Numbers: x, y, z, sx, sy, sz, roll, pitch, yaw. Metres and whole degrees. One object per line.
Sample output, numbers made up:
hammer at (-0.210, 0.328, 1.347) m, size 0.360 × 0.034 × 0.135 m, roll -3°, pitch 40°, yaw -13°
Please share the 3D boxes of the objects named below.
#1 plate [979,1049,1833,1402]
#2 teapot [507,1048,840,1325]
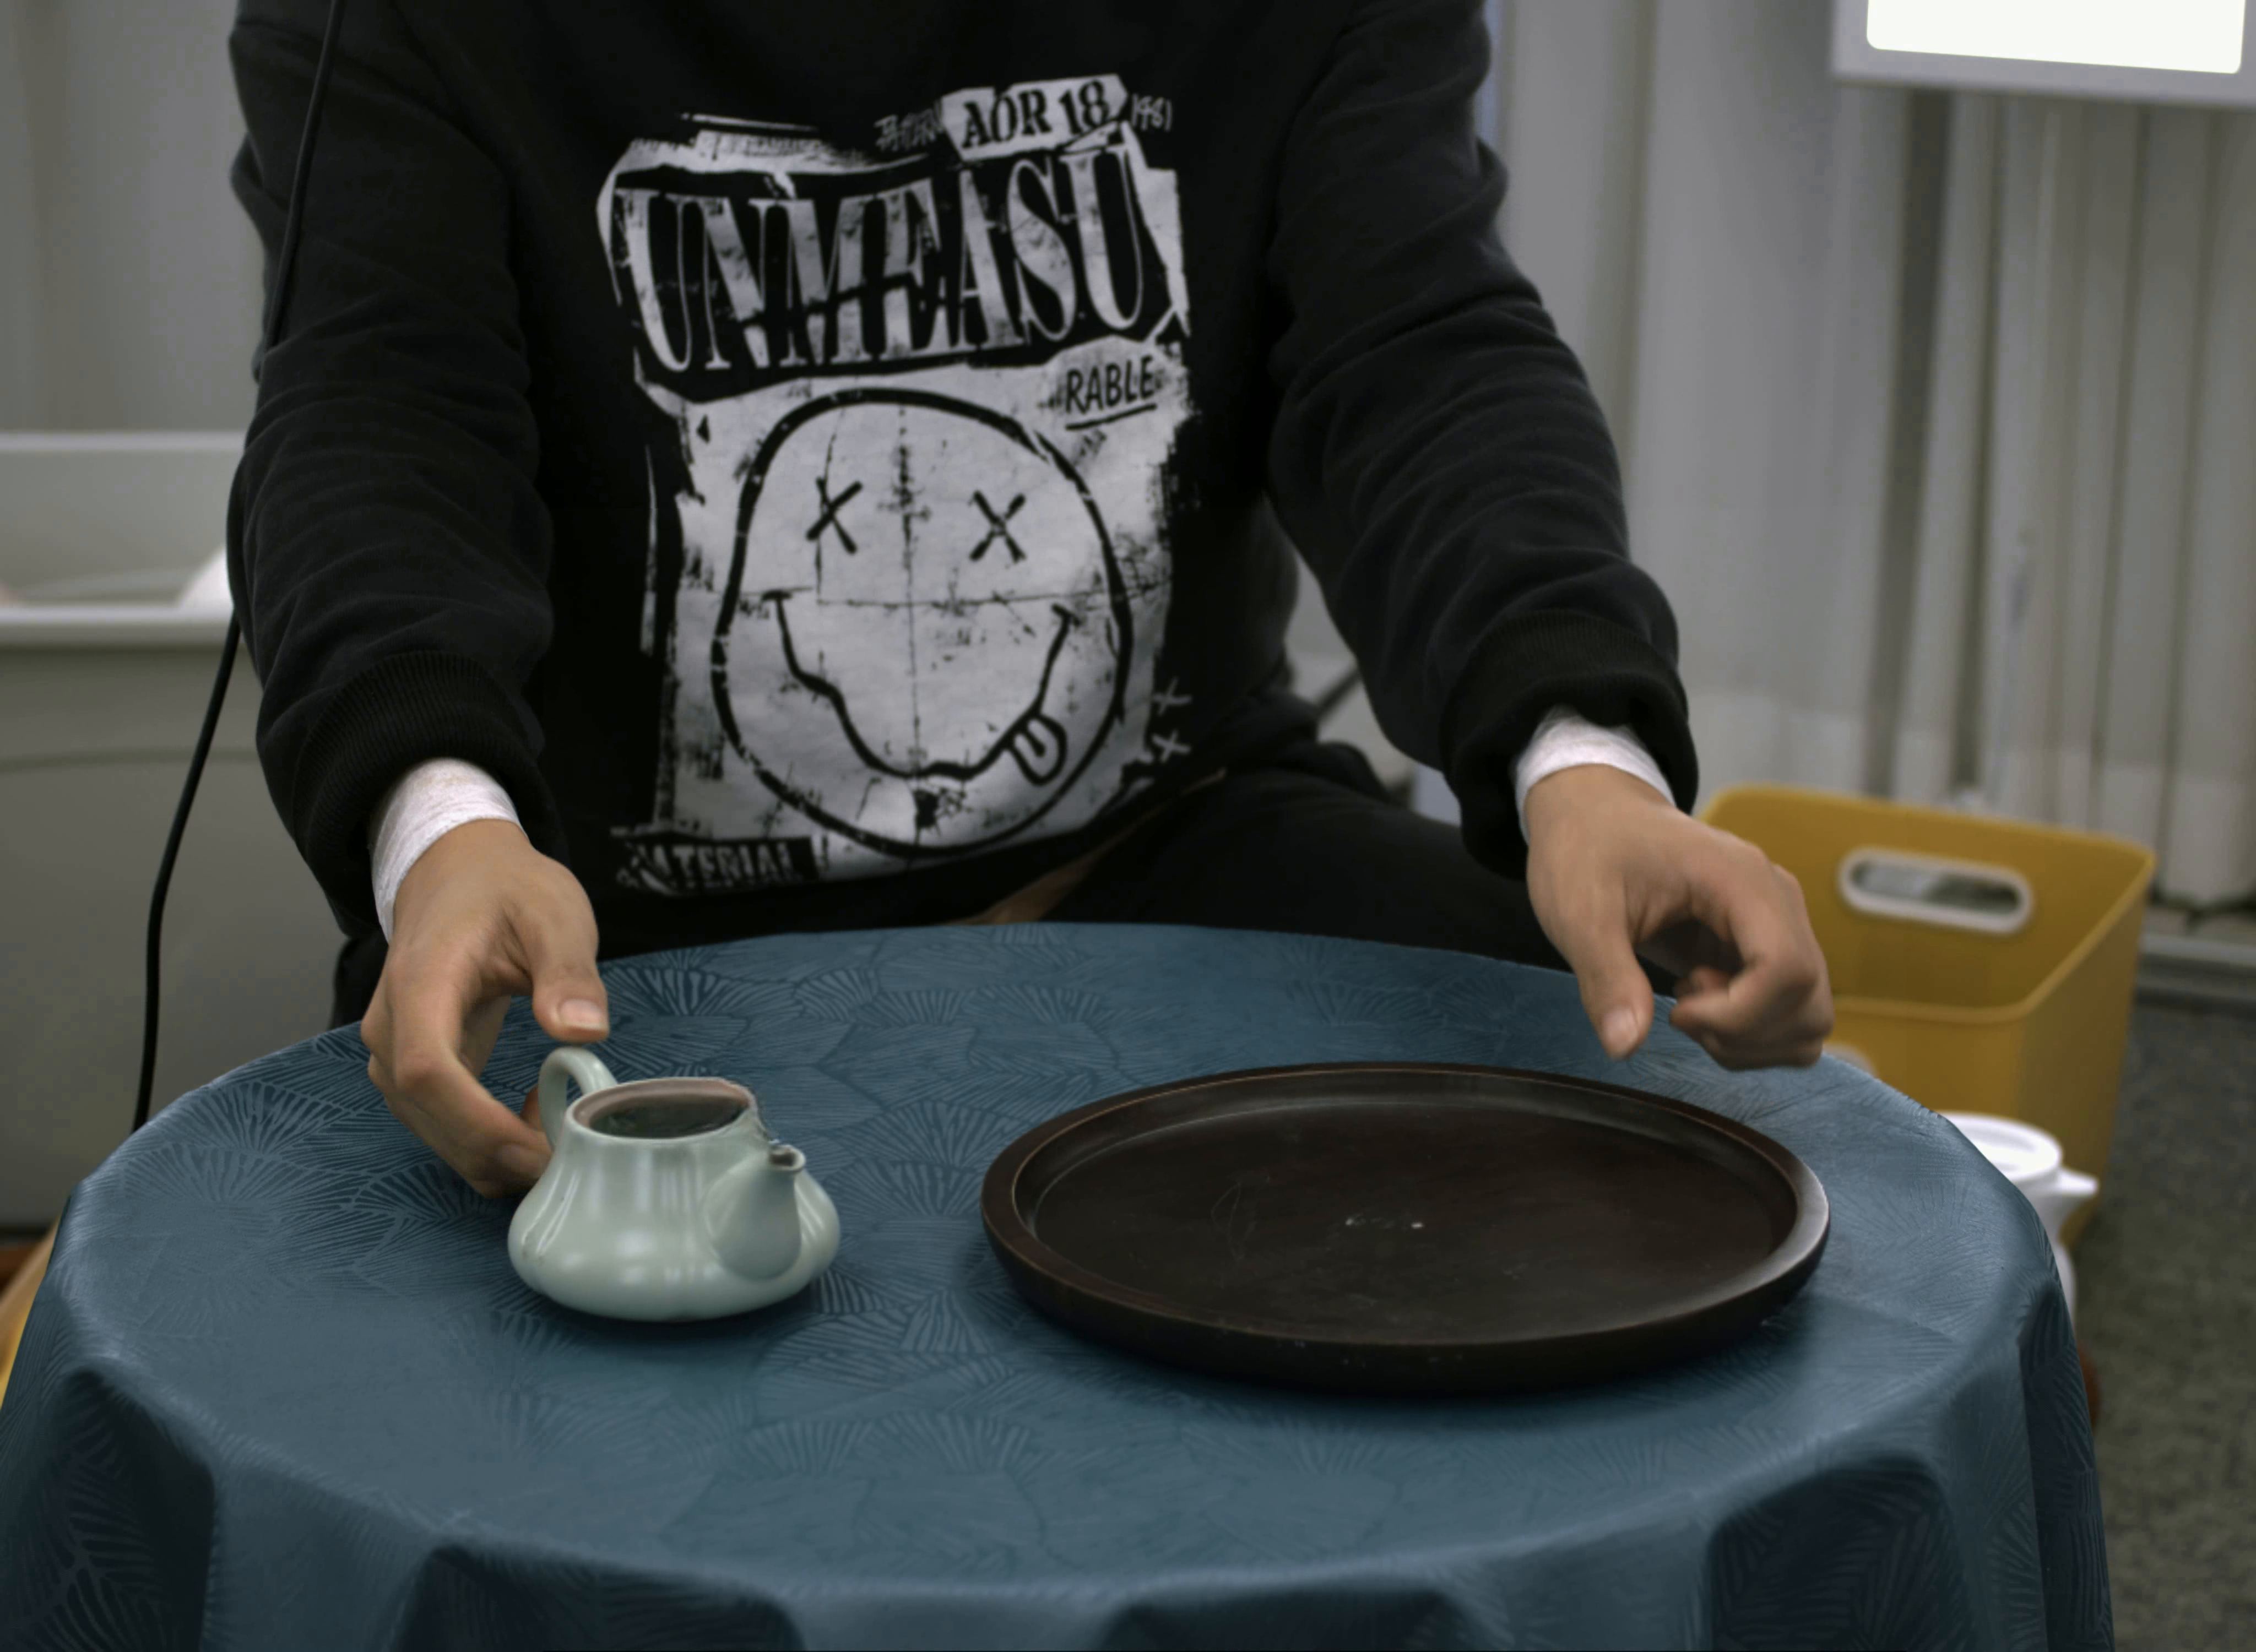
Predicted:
plate at (0.082, 0.117, 1.562) m, size 0.254 × 0.029 × 0.253 m, roll 0°, pitch 16°, yaw 1°
teapot at (-0.135, 0.106, 1.528) m, size 0.096 × 0.062 × 0.135 m, roll -14°, pitch 21°, yaw -38°
